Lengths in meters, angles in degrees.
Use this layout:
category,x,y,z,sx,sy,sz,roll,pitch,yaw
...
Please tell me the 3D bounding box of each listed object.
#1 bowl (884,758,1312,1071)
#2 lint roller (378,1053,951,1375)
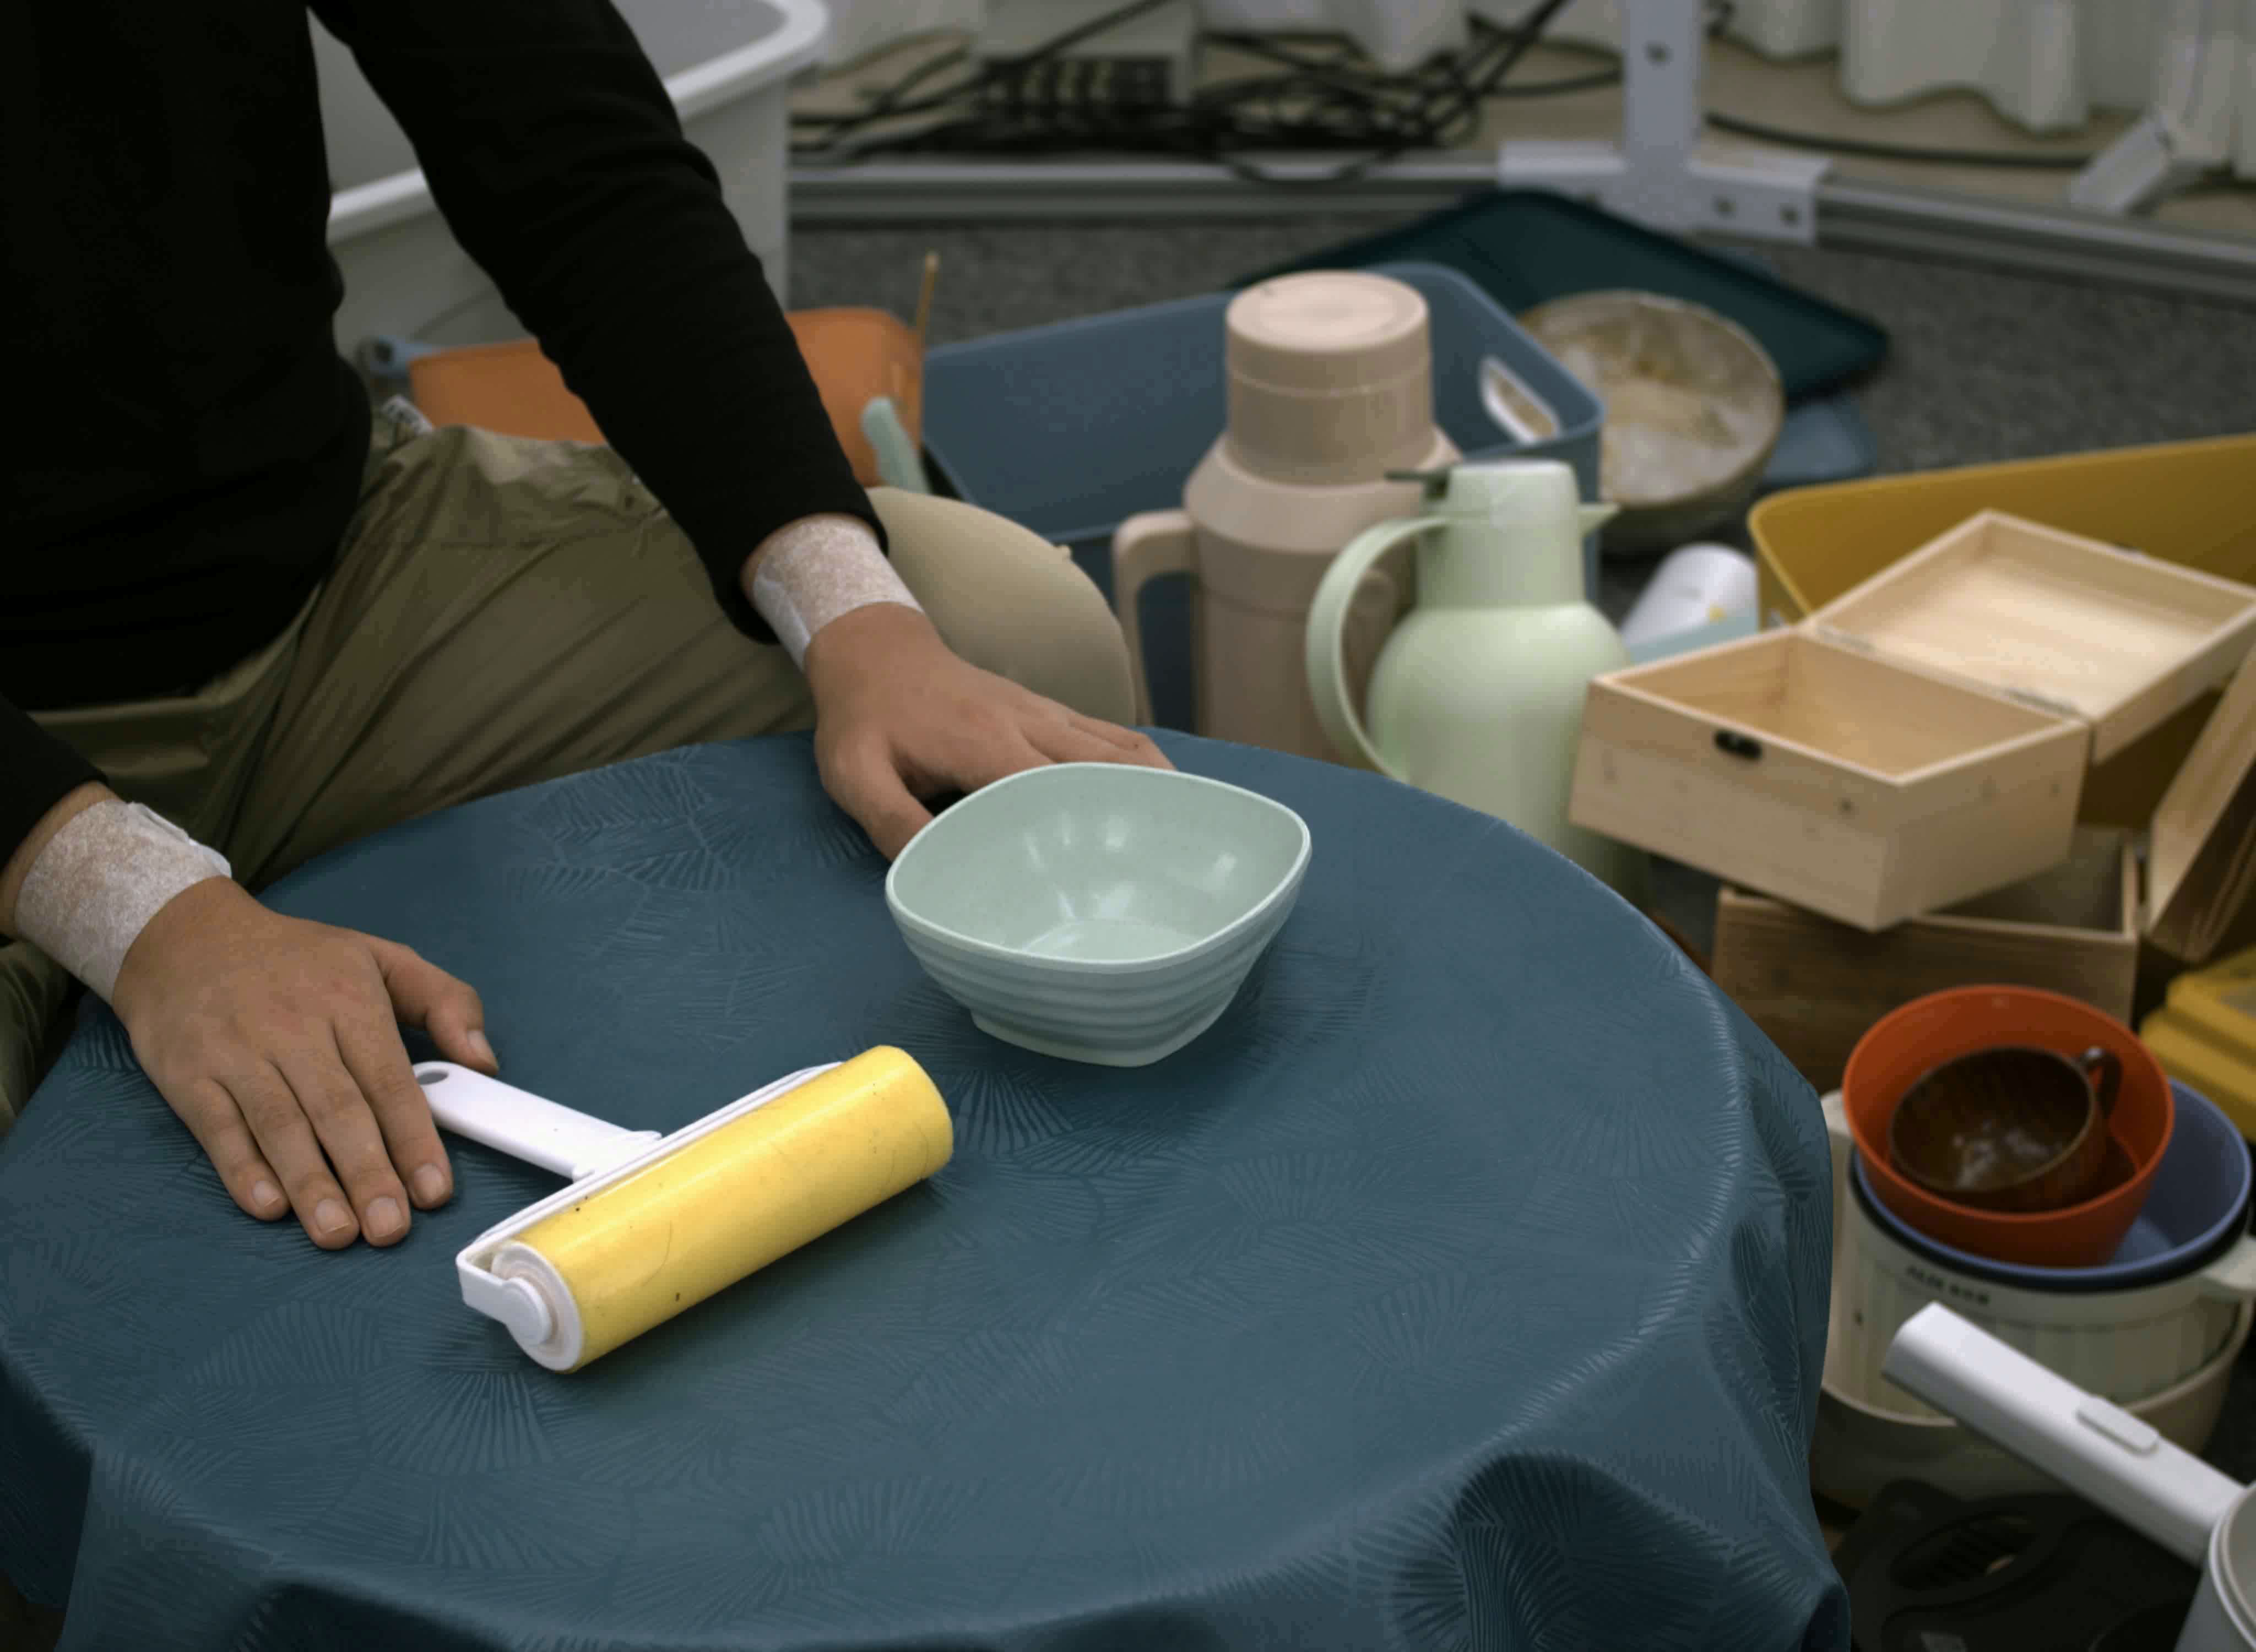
category,x,y,z,sx,sy,sz,roll,pitch,yaw
bowl,-0.009,0.037,1.965,0.151,0.058,0.154,-1,29,1
lint roller,-0.182,0.101,1.863,0.192,0.051,0.176,26,38,36
